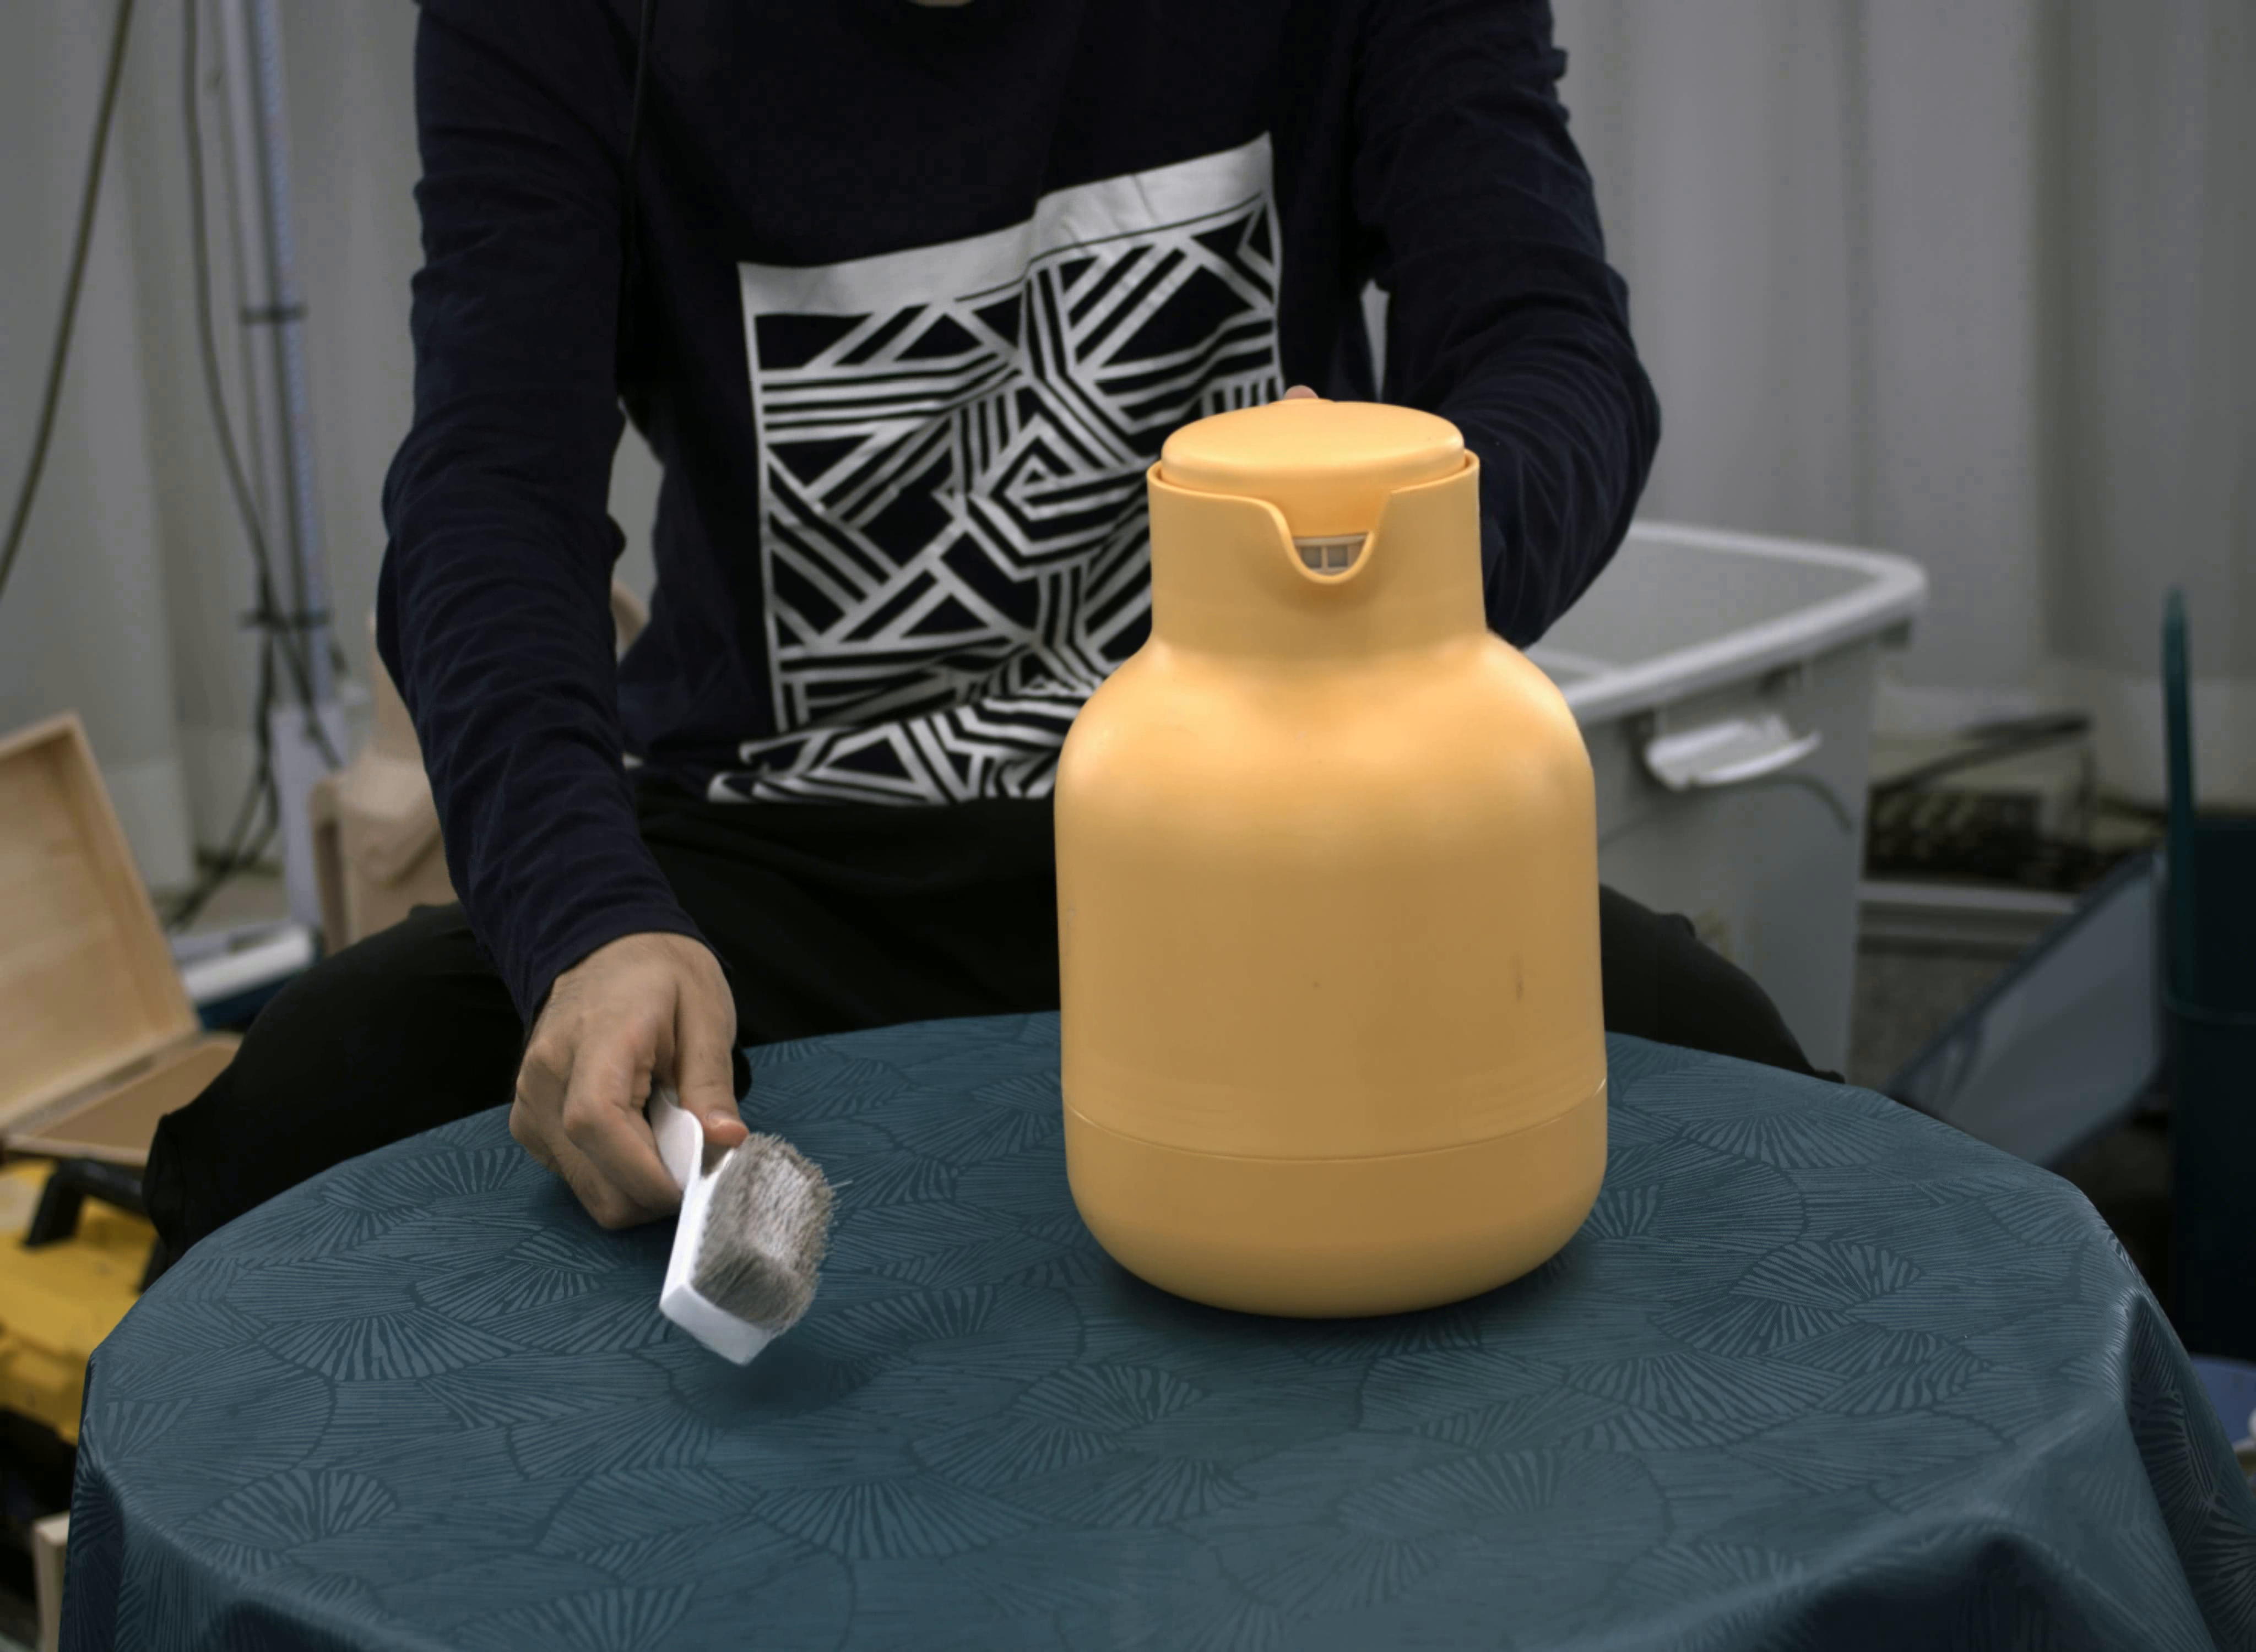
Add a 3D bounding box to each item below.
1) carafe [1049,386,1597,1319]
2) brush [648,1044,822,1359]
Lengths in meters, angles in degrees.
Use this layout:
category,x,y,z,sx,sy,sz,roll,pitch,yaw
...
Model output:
category,x,y,z,sx,sy,sz,roll,pitch,yaw
carafe,0.058,-0.001,1.633,0.163,0.259,0.204,0,15,0
brush,-0.118,0.095,1.648,0.034,0.050,0.245,33,11,-13
